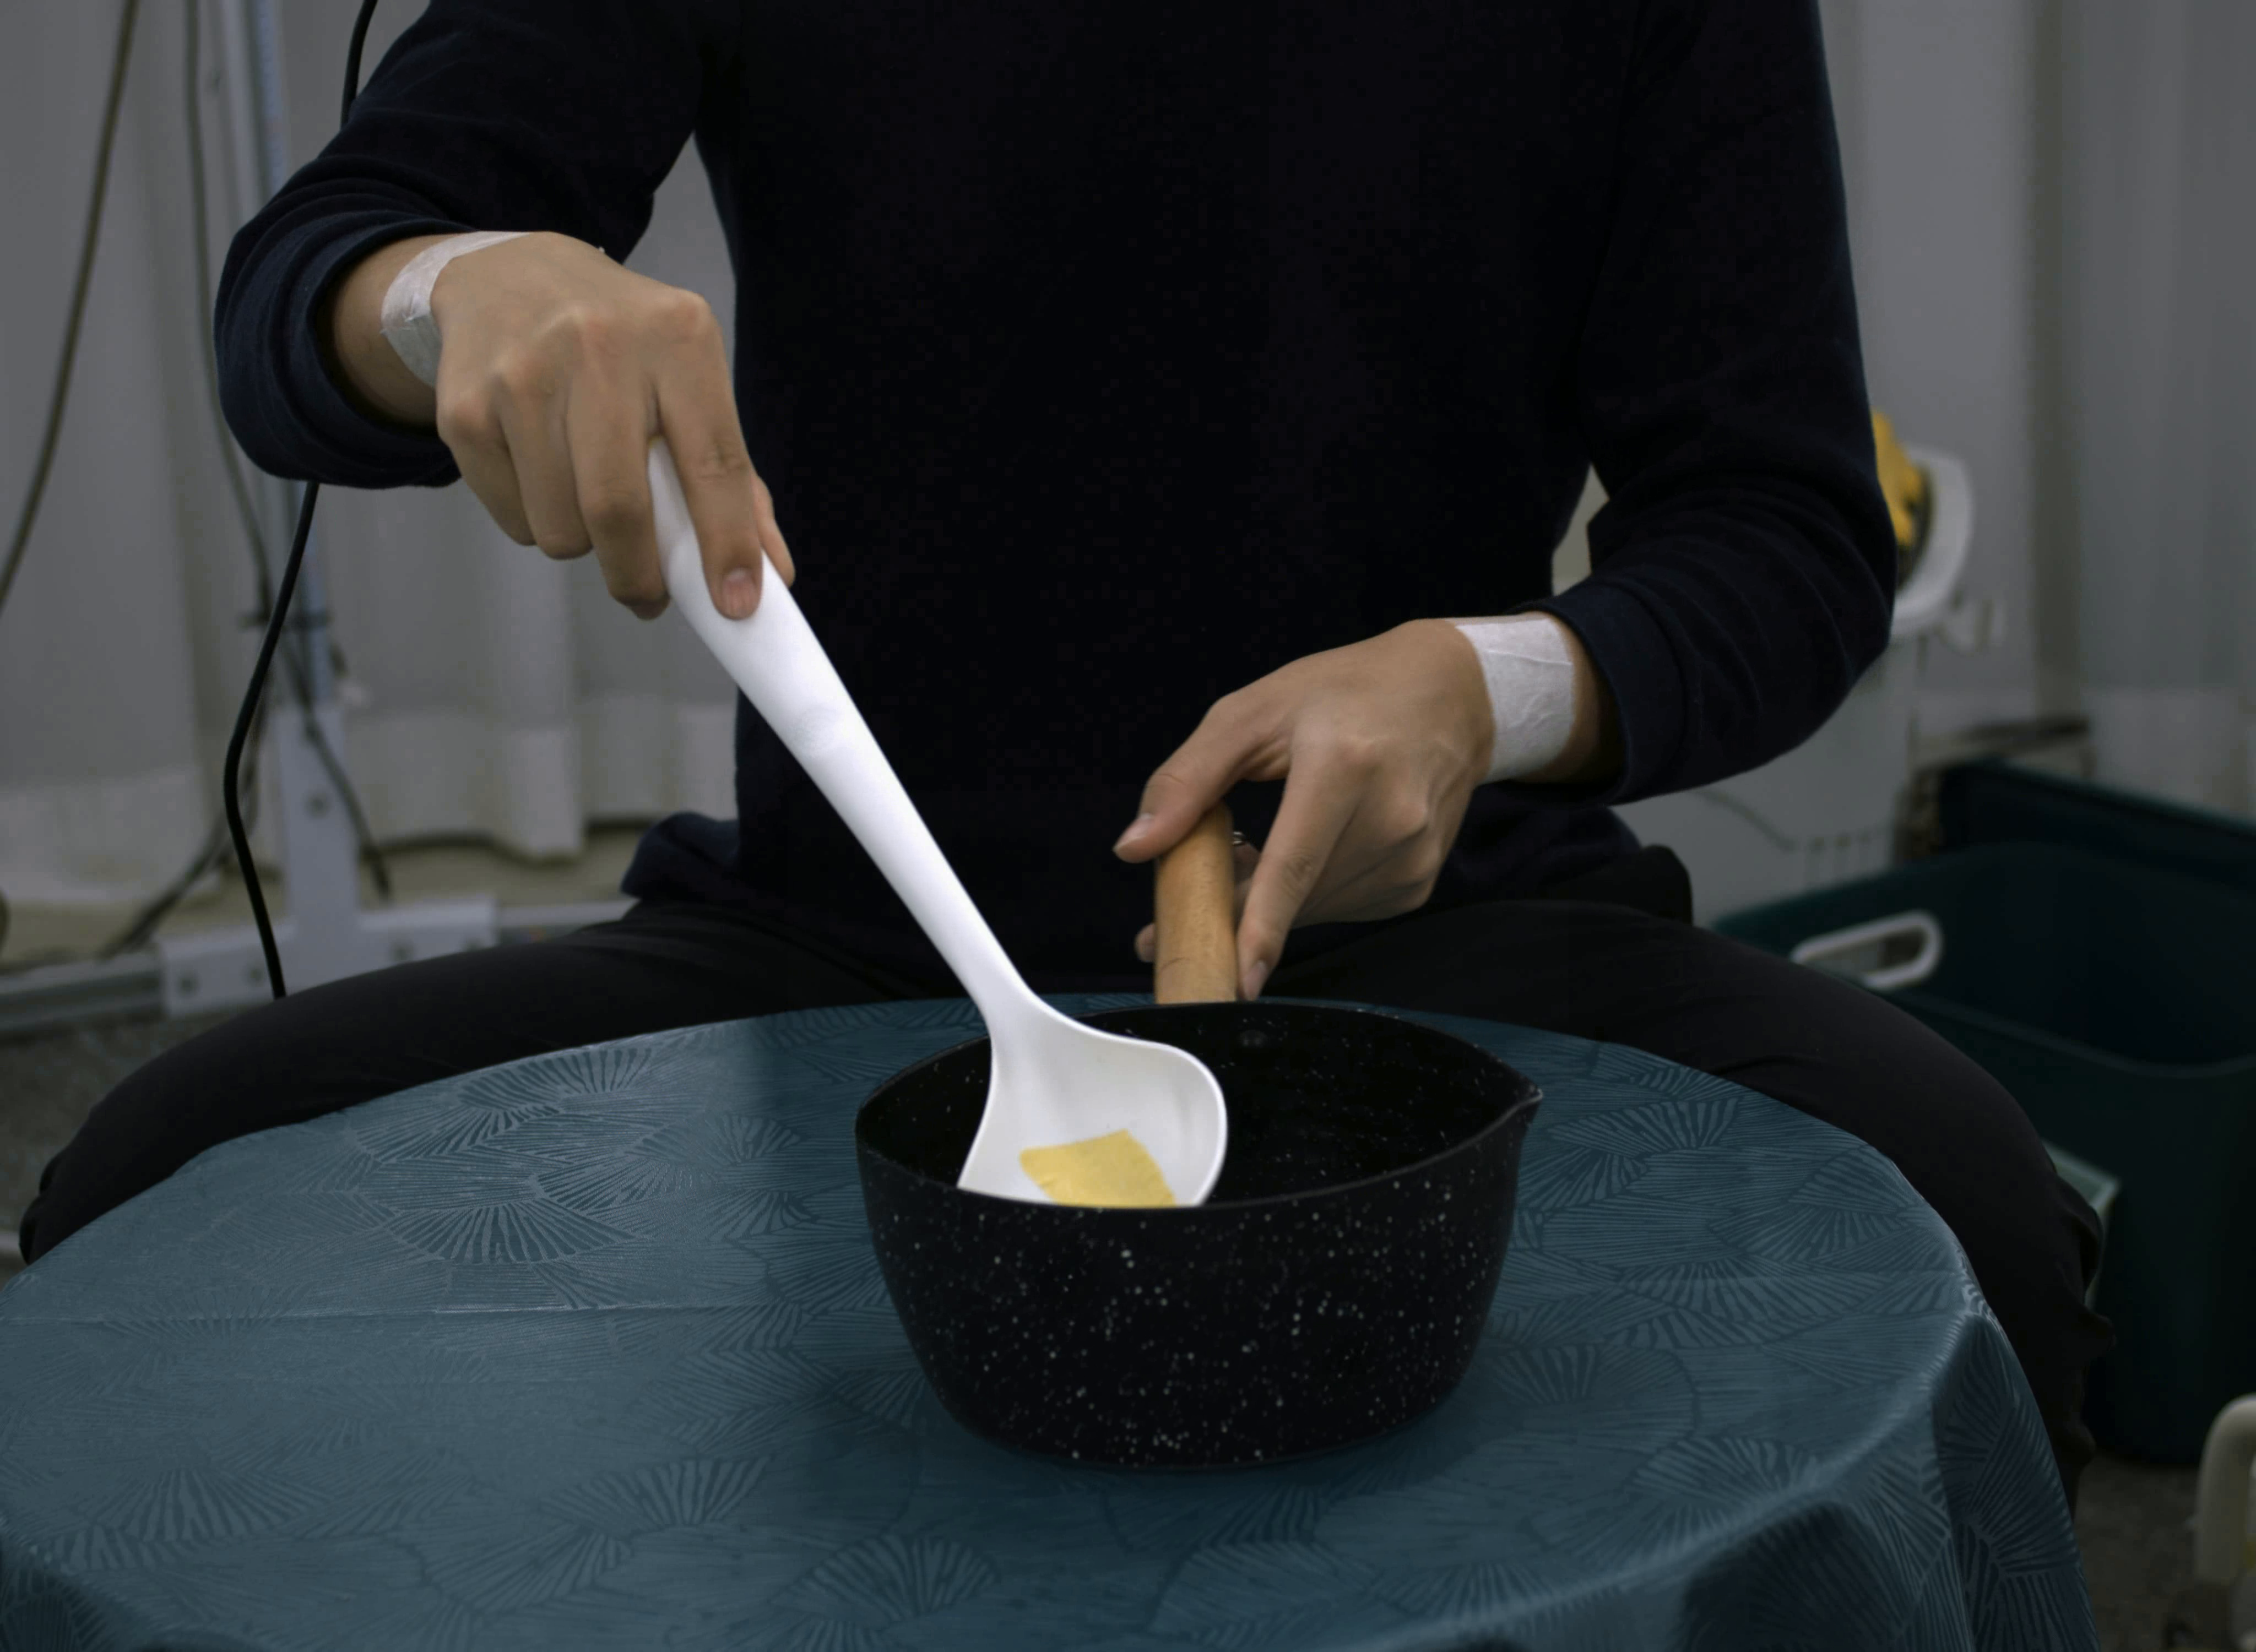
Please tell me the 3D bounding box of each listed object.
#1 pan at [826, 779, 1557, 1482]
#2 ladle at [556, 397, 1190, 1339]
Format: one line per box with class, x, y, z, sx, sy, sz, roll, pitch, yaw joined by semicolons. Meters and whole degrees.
pan;0.020;0.084;1.617;0.207;0.108;0.345;-4;16;2
ladle;-0.078;0.006;1.518;0.090;0.295;0.070;-37;-12;19
